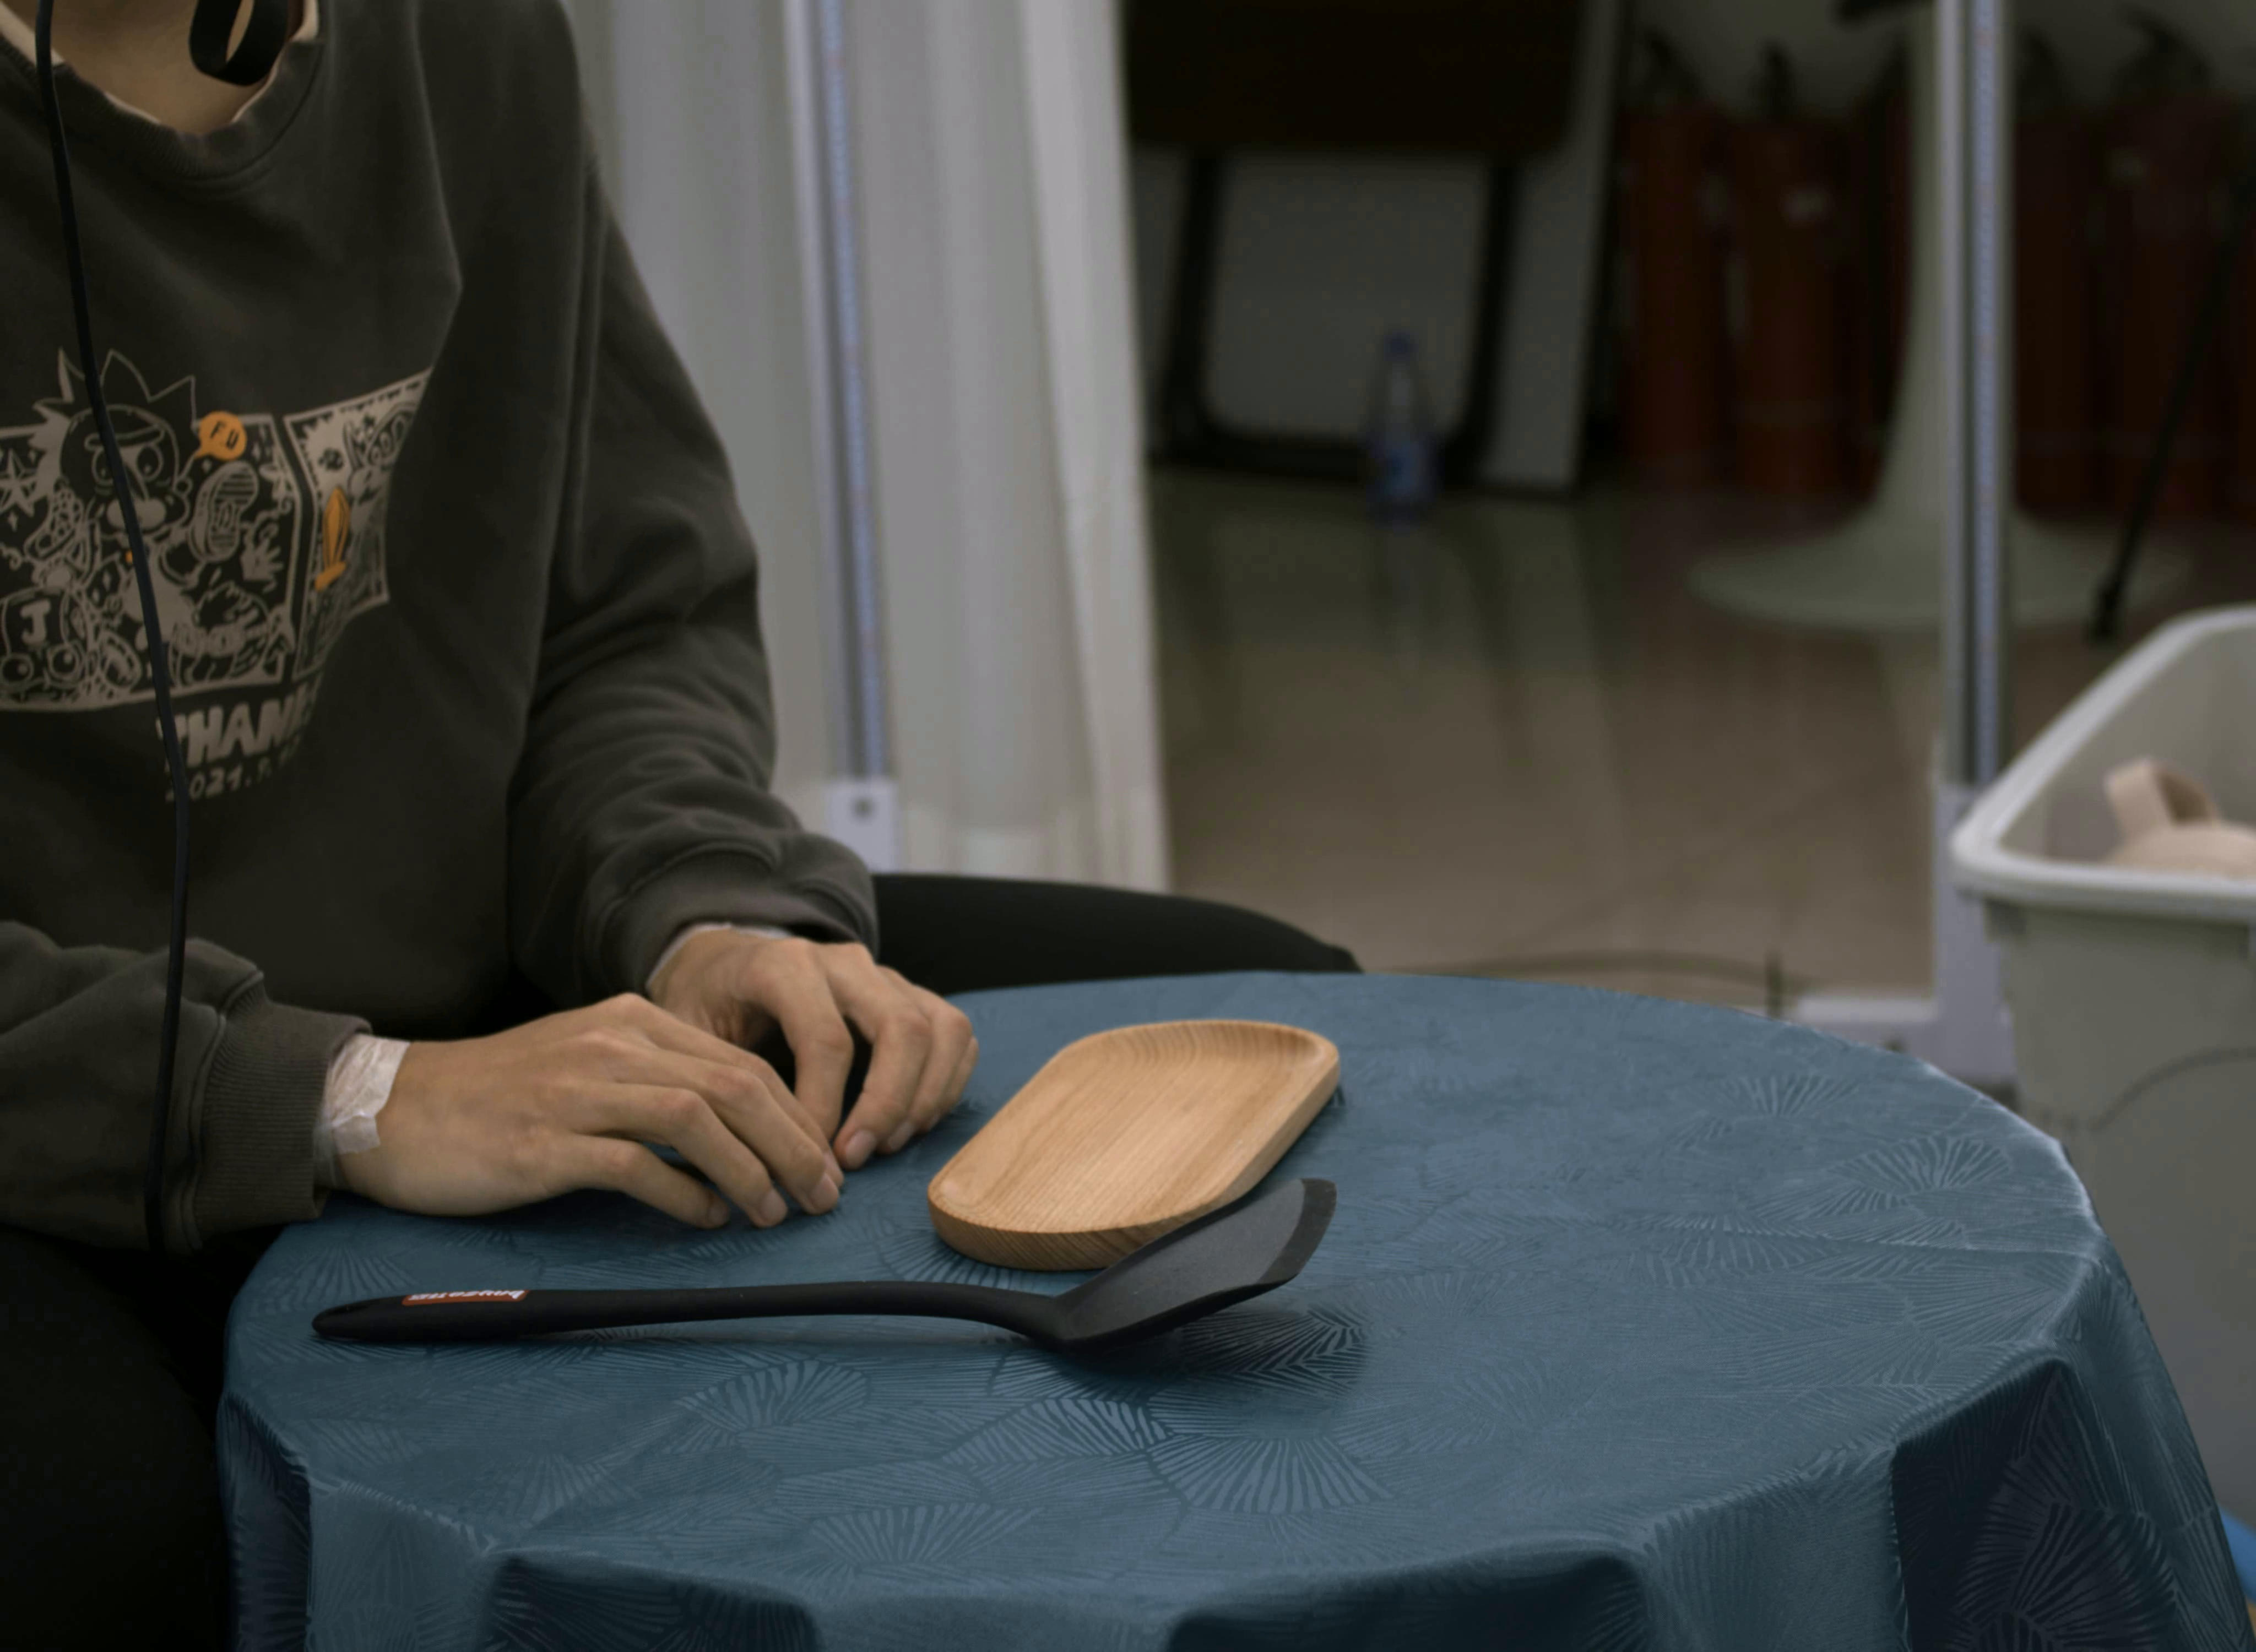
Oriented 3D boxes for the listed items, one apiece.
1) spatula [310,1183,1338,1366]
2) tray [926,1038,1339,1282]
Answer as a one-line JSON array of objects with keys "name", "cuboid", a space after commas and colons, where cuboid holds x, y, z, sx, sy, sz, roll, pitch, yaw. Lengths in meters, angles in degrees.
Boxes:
[{"name": "spatula", "cuboid": [-0.096, 0.141, 1.646, 0.324, 0.041, 0.099, -1, 13, 12]}, {"name": "tray", "cuboid": [0.005, 0.109, 1.795, 0.101, 0.020, 0.229, 0, 15, 18]}]
